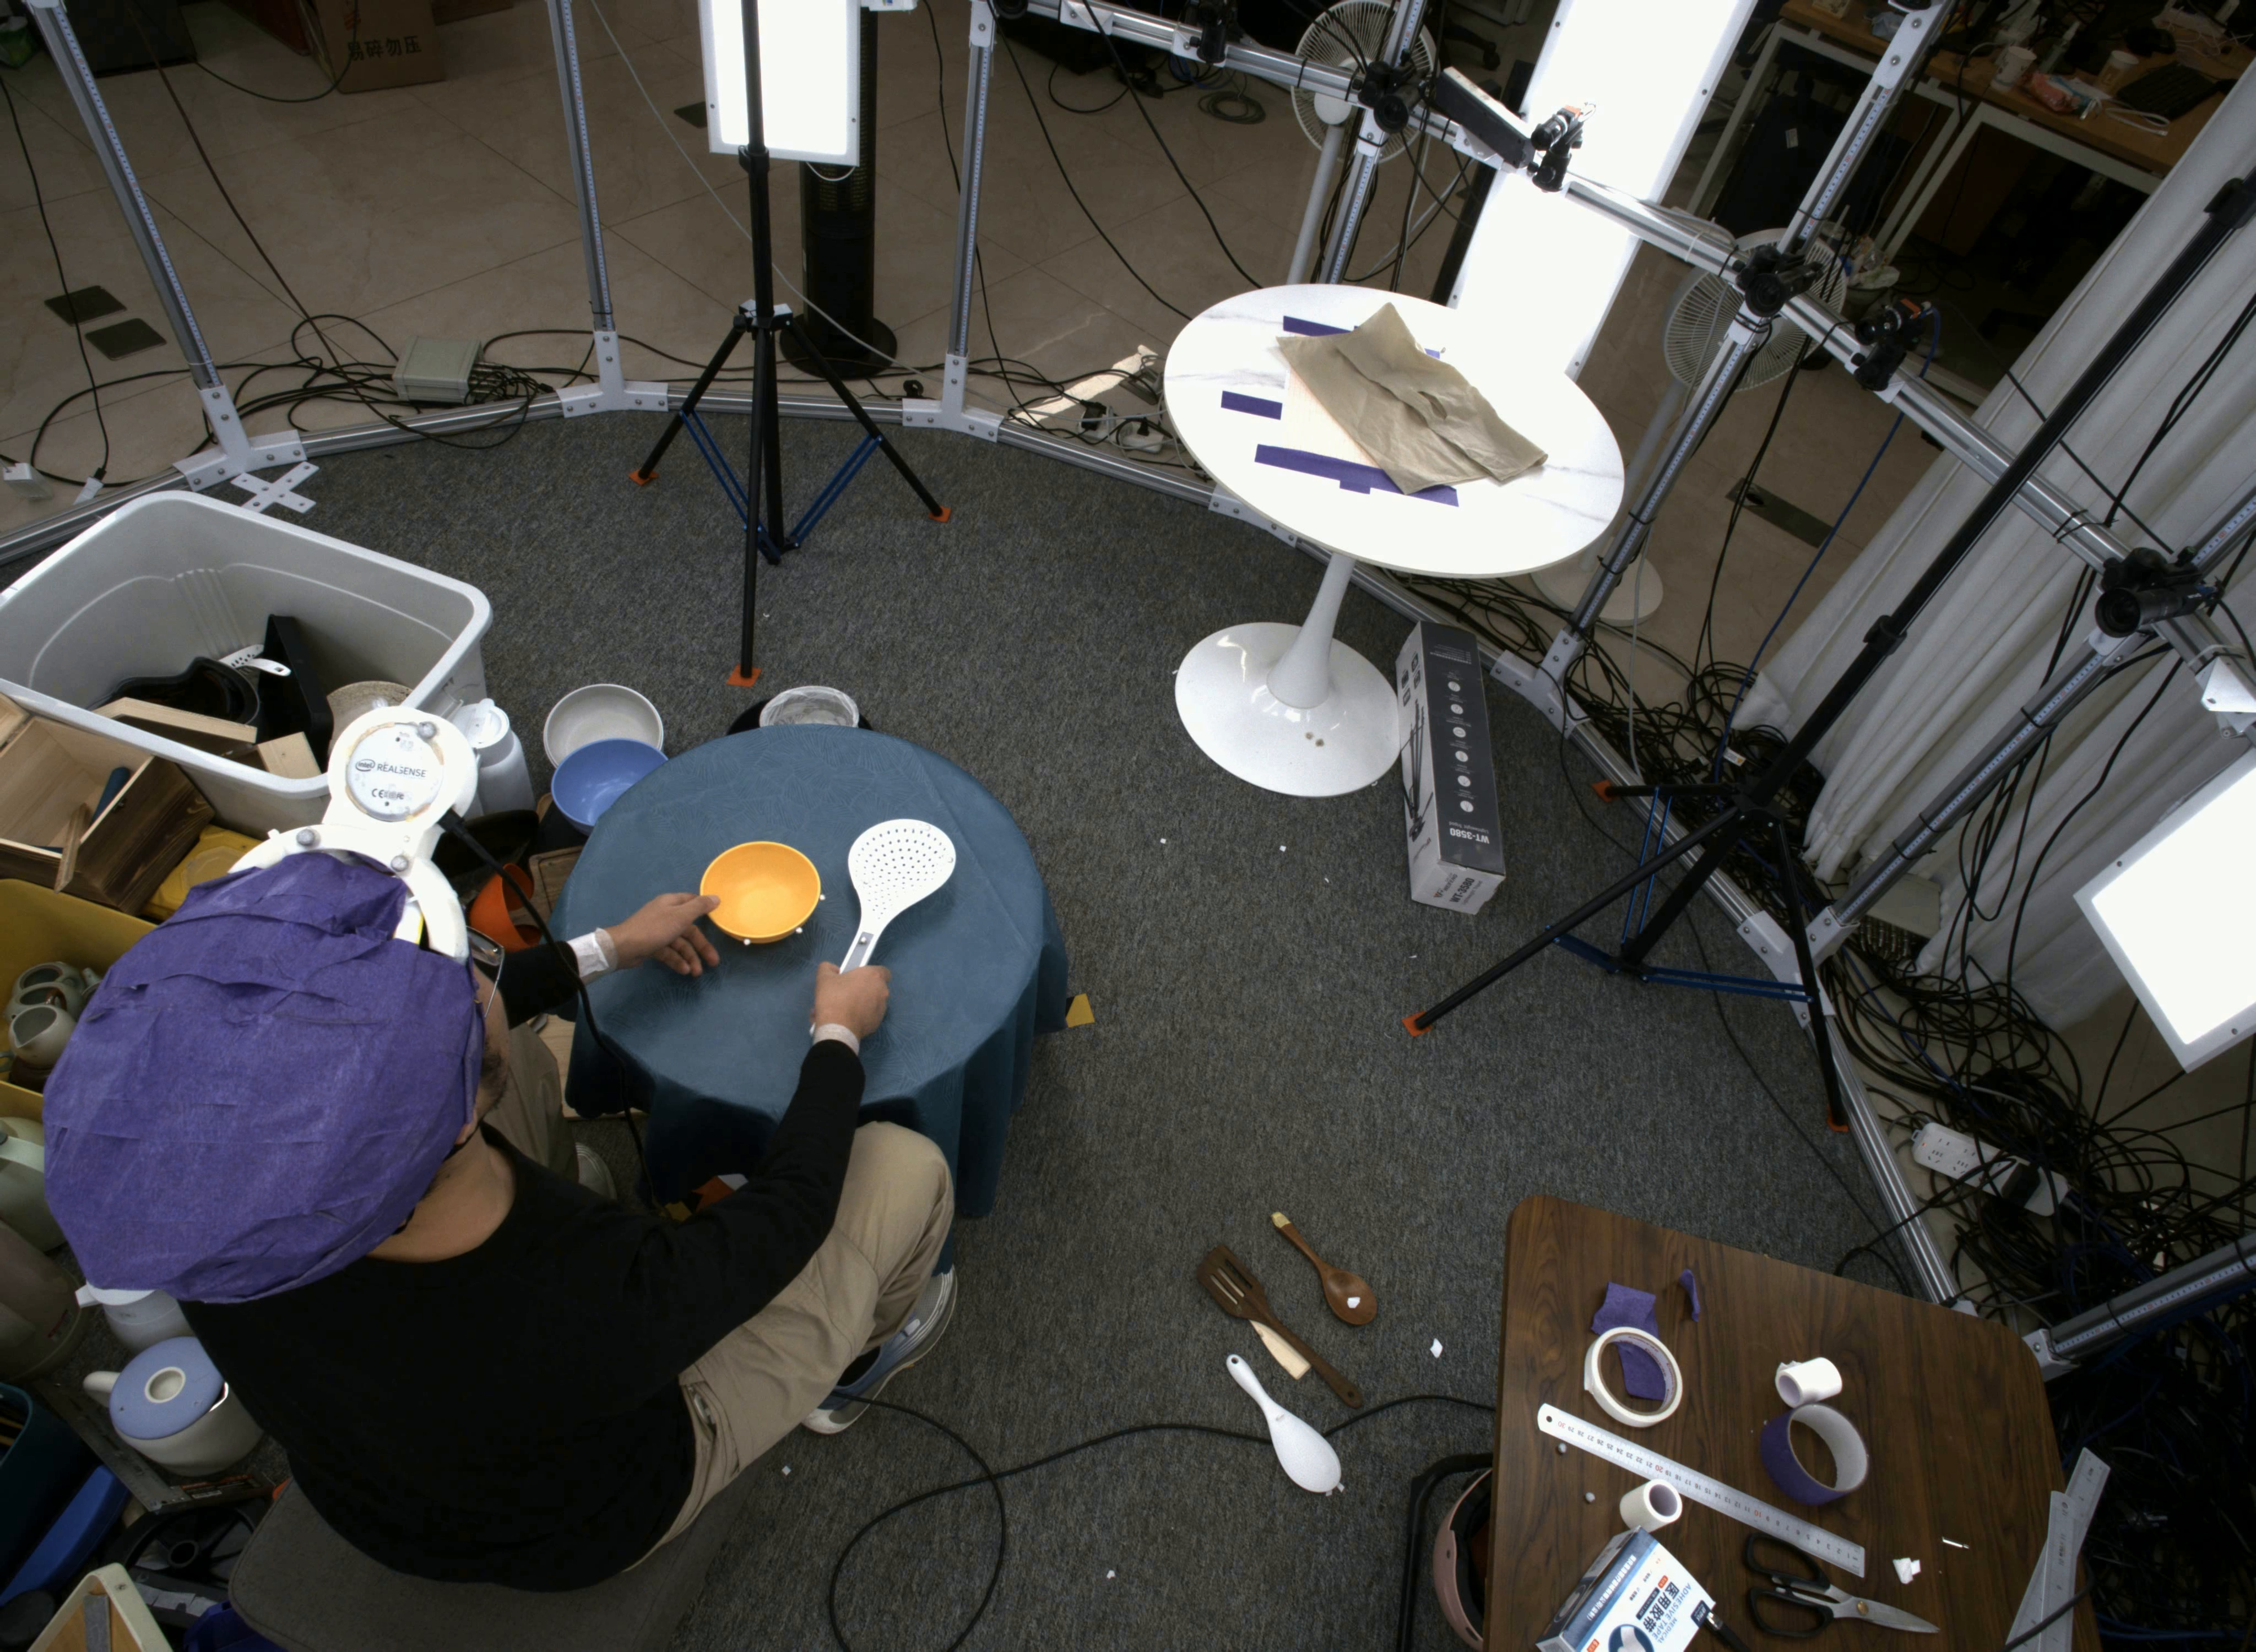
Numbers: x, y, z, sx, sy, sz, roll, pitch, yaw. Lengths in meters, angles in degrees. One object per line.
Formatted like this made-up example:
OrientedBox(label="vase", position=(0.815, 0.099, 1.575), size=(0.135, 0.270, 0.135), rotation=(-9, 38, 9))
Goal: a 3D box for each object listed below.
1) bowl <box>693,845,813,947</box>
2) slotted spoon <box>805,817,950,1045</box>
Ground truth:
OrientedBox(label="bowl", position=(-0.462, 0.096, 1.601), size=(0.145, 0.061, 0.142), rotation=(8, 50, -8))
OrientedBox(label="slotted spoon", position=(-0.322, 0.121, 1.607), size=(0.134, 0.047, 0.345), rotation=(15, 44, 2))
